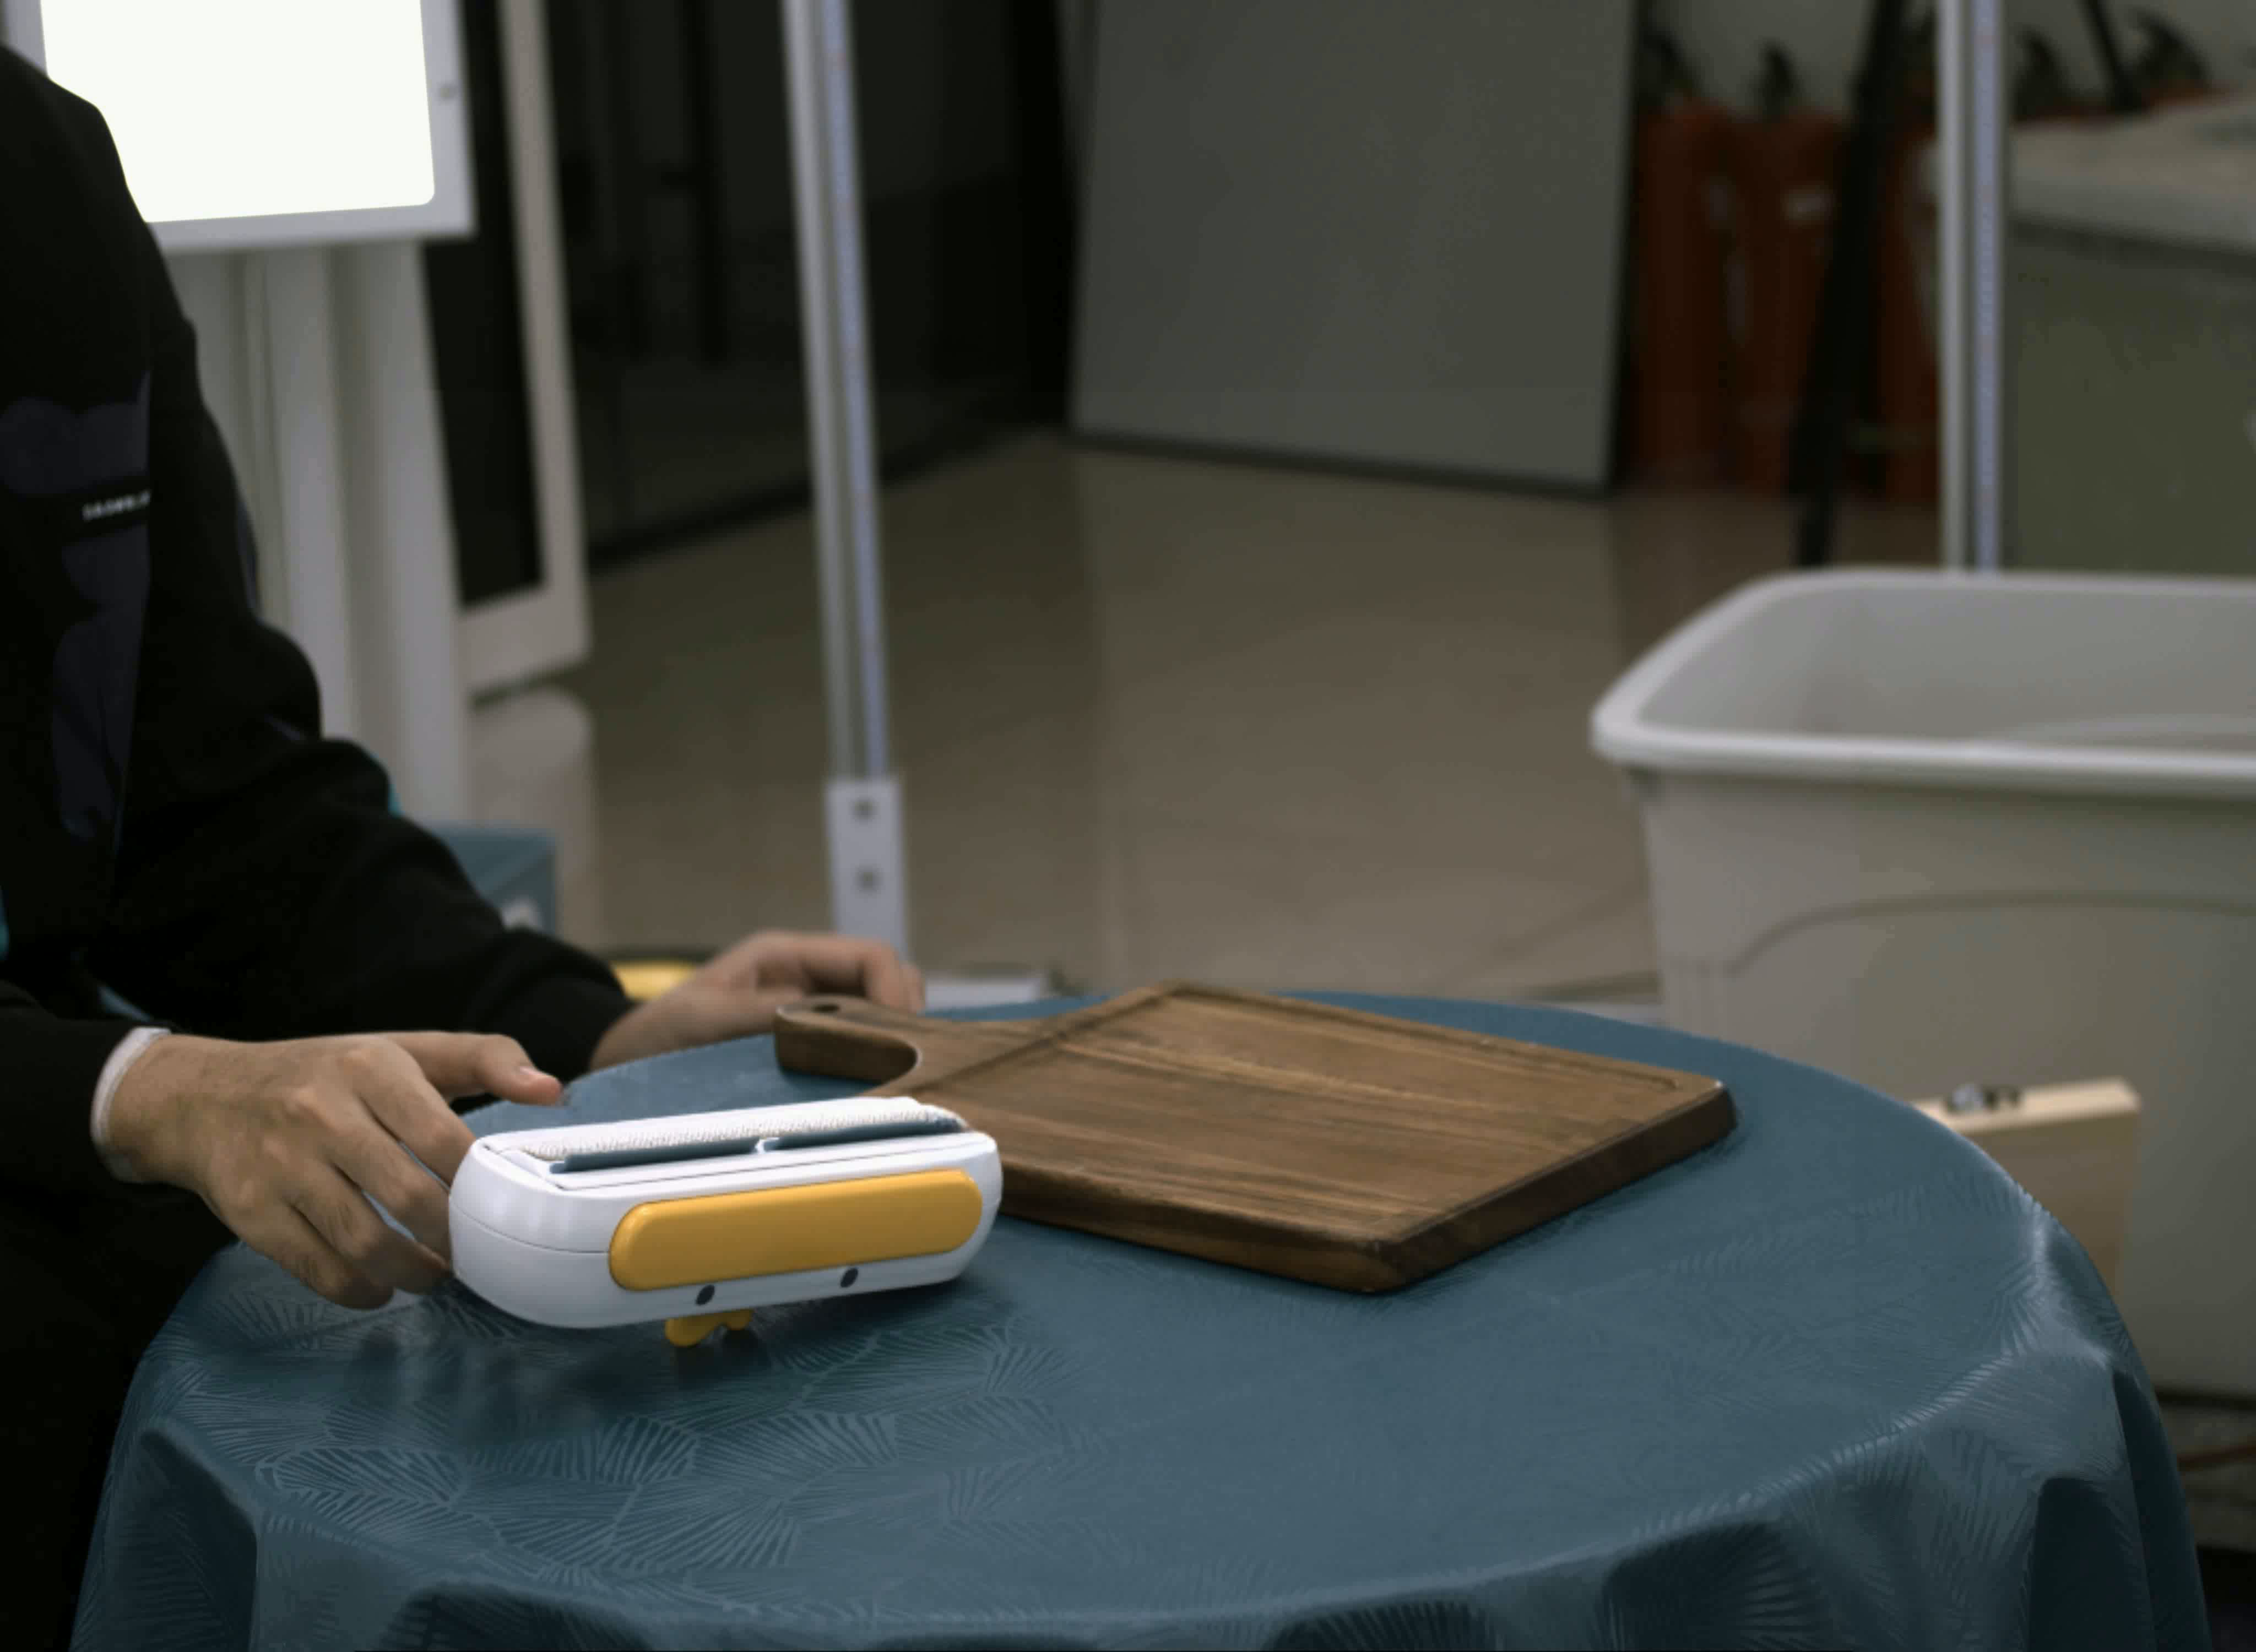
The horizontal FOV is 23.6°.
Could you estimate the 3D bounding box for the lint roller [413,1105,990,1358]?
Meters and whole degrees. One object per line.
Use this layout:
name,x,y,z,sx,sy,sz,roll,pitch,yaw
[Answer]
lint roller,-0.163,0.118,1.692,0.188,0.075,0.194,-8,12,-38

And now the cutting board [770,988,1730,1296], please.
cutting board,0.011,0.096,1.830,0.355,0.023,0.197,8,19,41
